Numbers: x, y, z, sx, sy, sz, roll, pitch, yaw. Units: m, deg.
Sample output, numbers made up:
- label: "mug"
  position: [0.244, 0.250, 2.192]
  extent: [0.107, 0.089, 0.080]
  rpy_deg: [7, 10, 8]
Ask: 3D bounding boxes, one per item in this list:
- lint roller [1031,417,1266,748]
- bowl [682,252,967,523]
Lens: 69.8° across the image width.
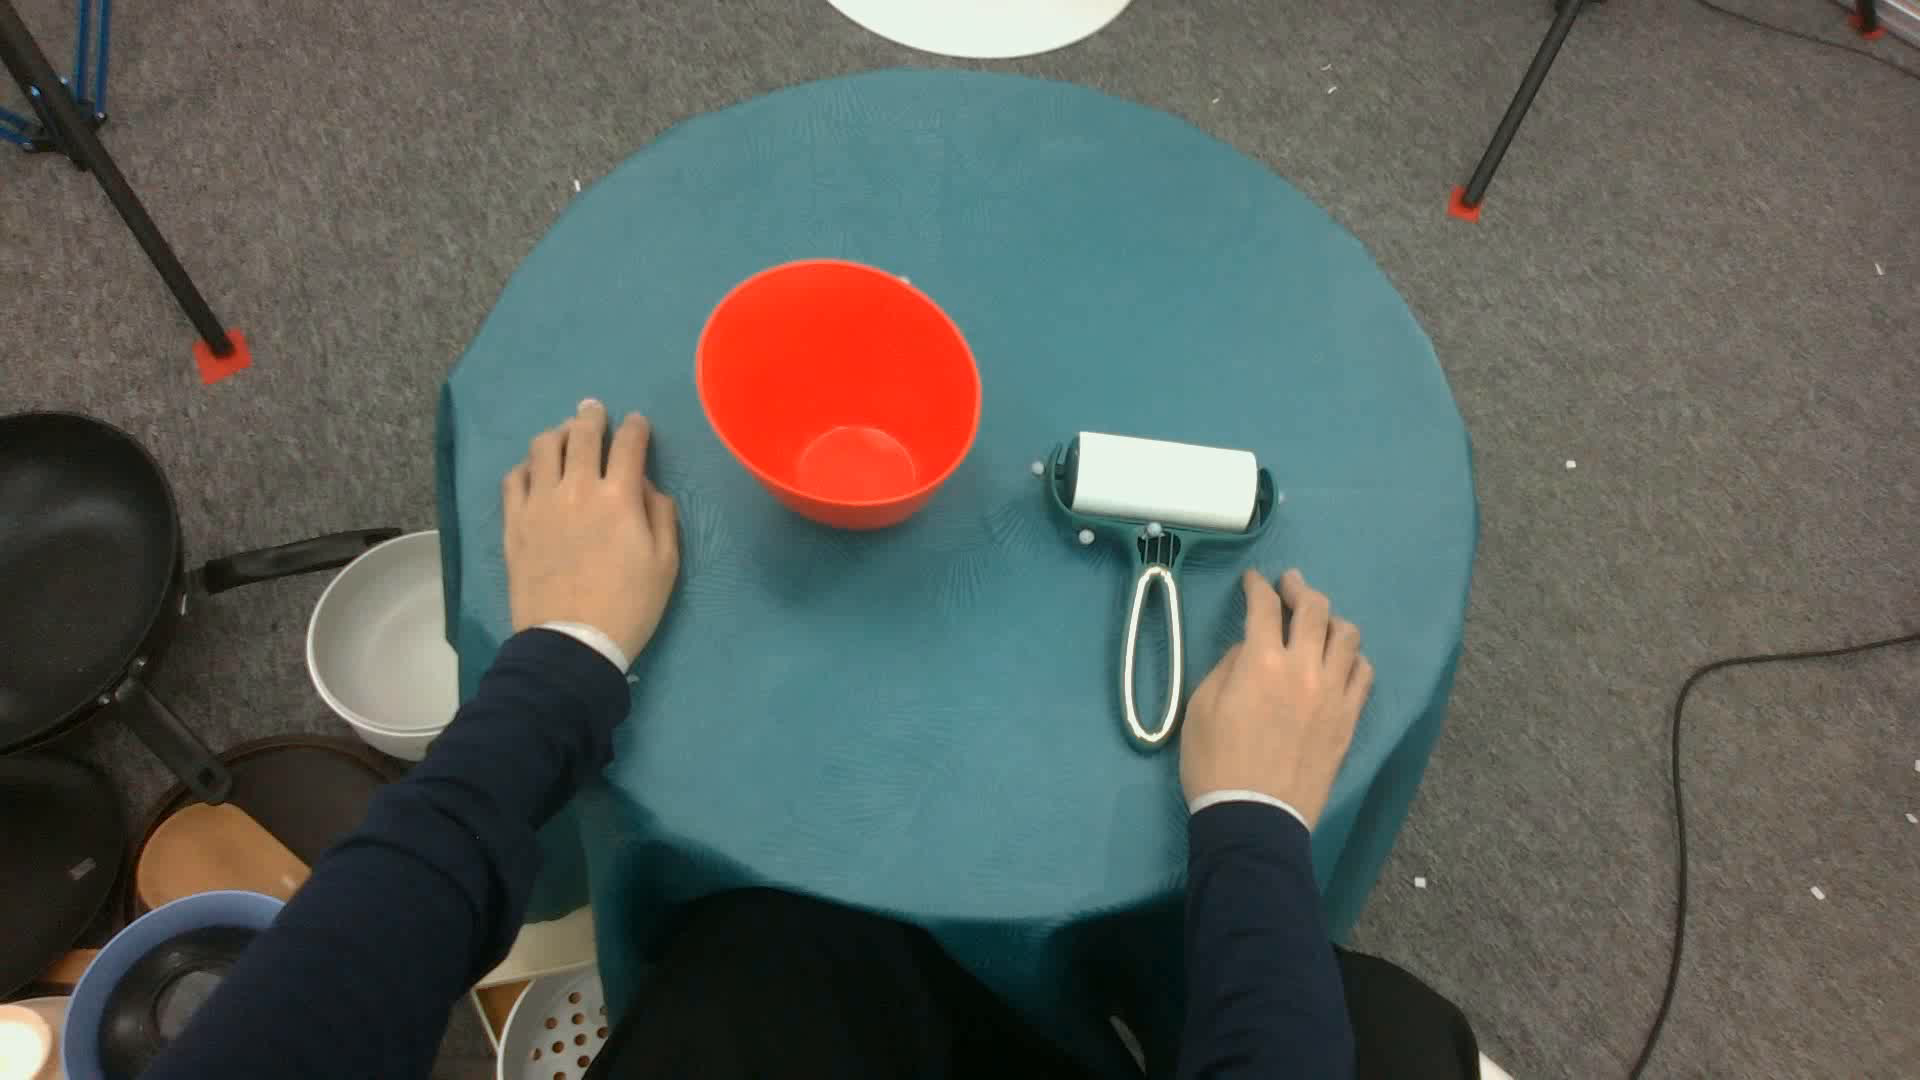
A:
- label: "lint roller"
  position: [0.100, 0.020, 0.751]
  extent: [0.134, 0.048, 0.181]
  rpy_deg: [7, 64, -3]
- label: "bowl"
  position: [-0.072, -0.069, 0.750]
  extent: [0.148, 0.104, 0.148]
  rpy_deg: [3, 62, -5]
